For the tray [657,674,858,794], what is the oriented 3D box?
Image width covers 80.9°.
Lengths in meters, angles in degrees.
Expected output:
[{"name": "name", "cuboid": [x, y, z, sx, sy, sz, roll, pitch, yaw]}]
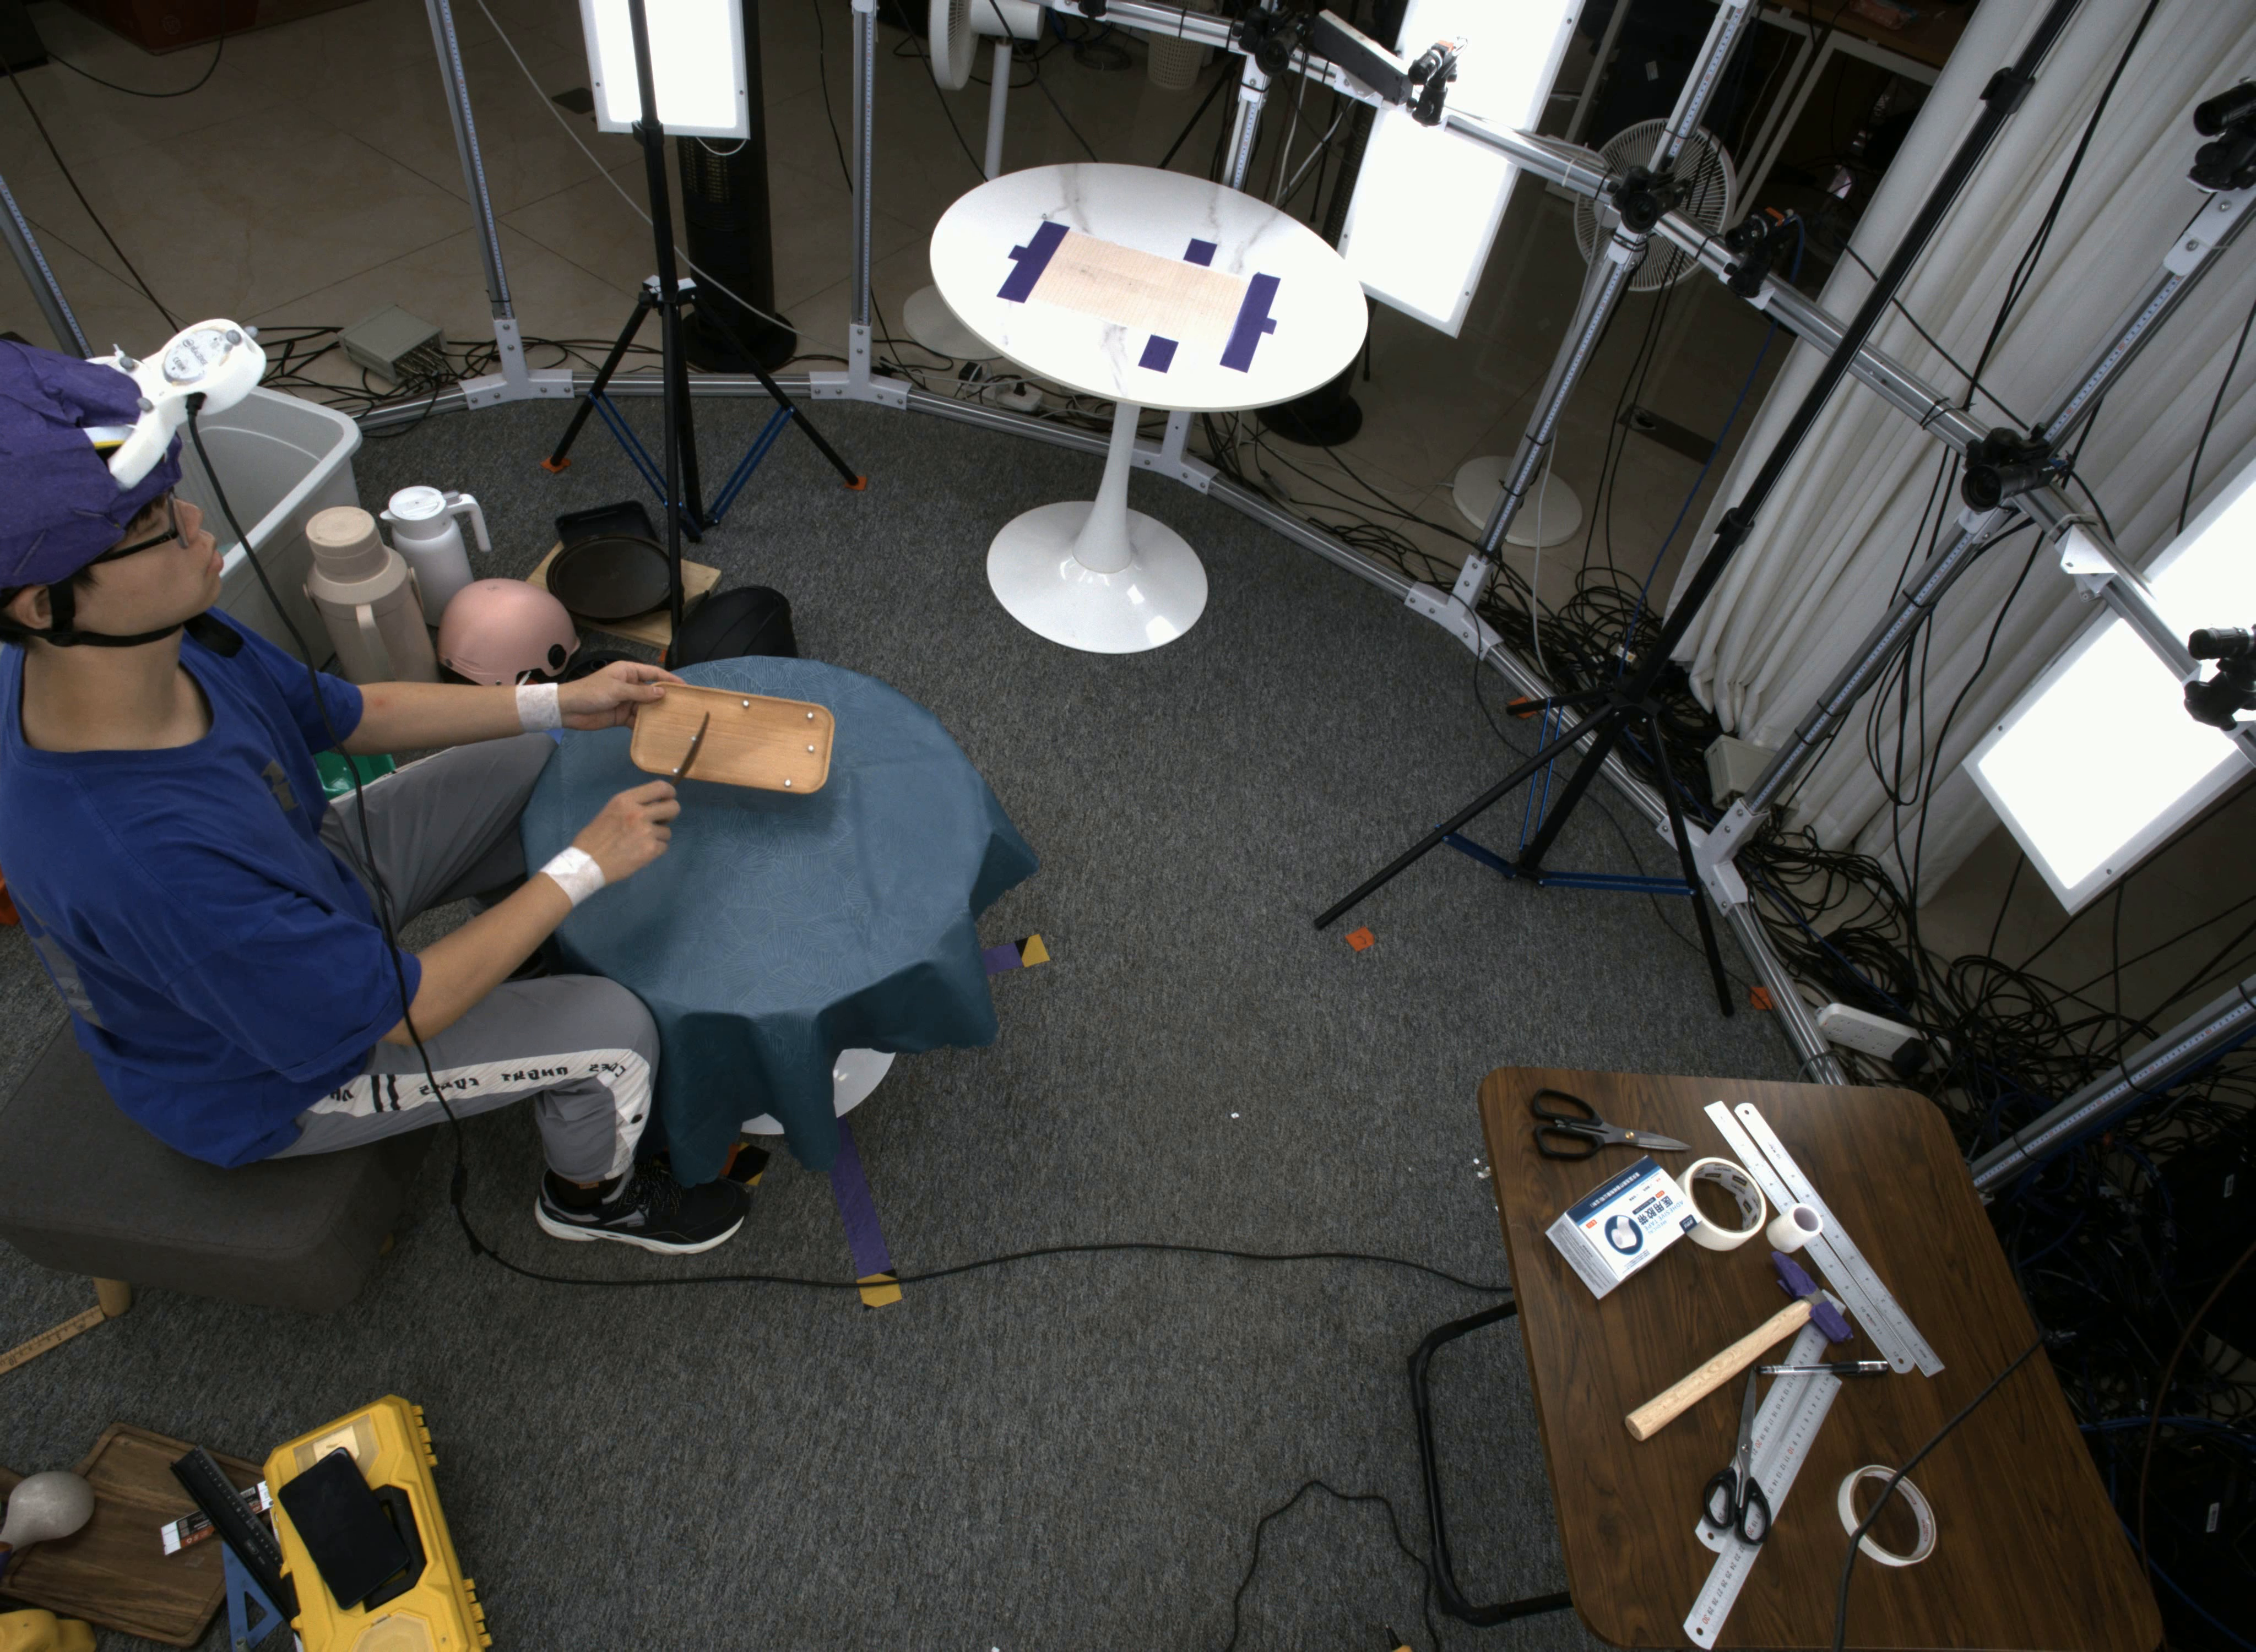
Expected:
[{"name": "tray", "cuboid": [-0.486, -0.120, 1.697, 0.251, 0.023, 0.130, 10, 71, -14]}]

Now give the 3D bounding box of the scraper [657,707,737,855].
[{"name": "scraper", "cuboid": [-0.527, -0.054, 1.582, 0.011, 0.076, 0.209, 27, 56, -11]}]
